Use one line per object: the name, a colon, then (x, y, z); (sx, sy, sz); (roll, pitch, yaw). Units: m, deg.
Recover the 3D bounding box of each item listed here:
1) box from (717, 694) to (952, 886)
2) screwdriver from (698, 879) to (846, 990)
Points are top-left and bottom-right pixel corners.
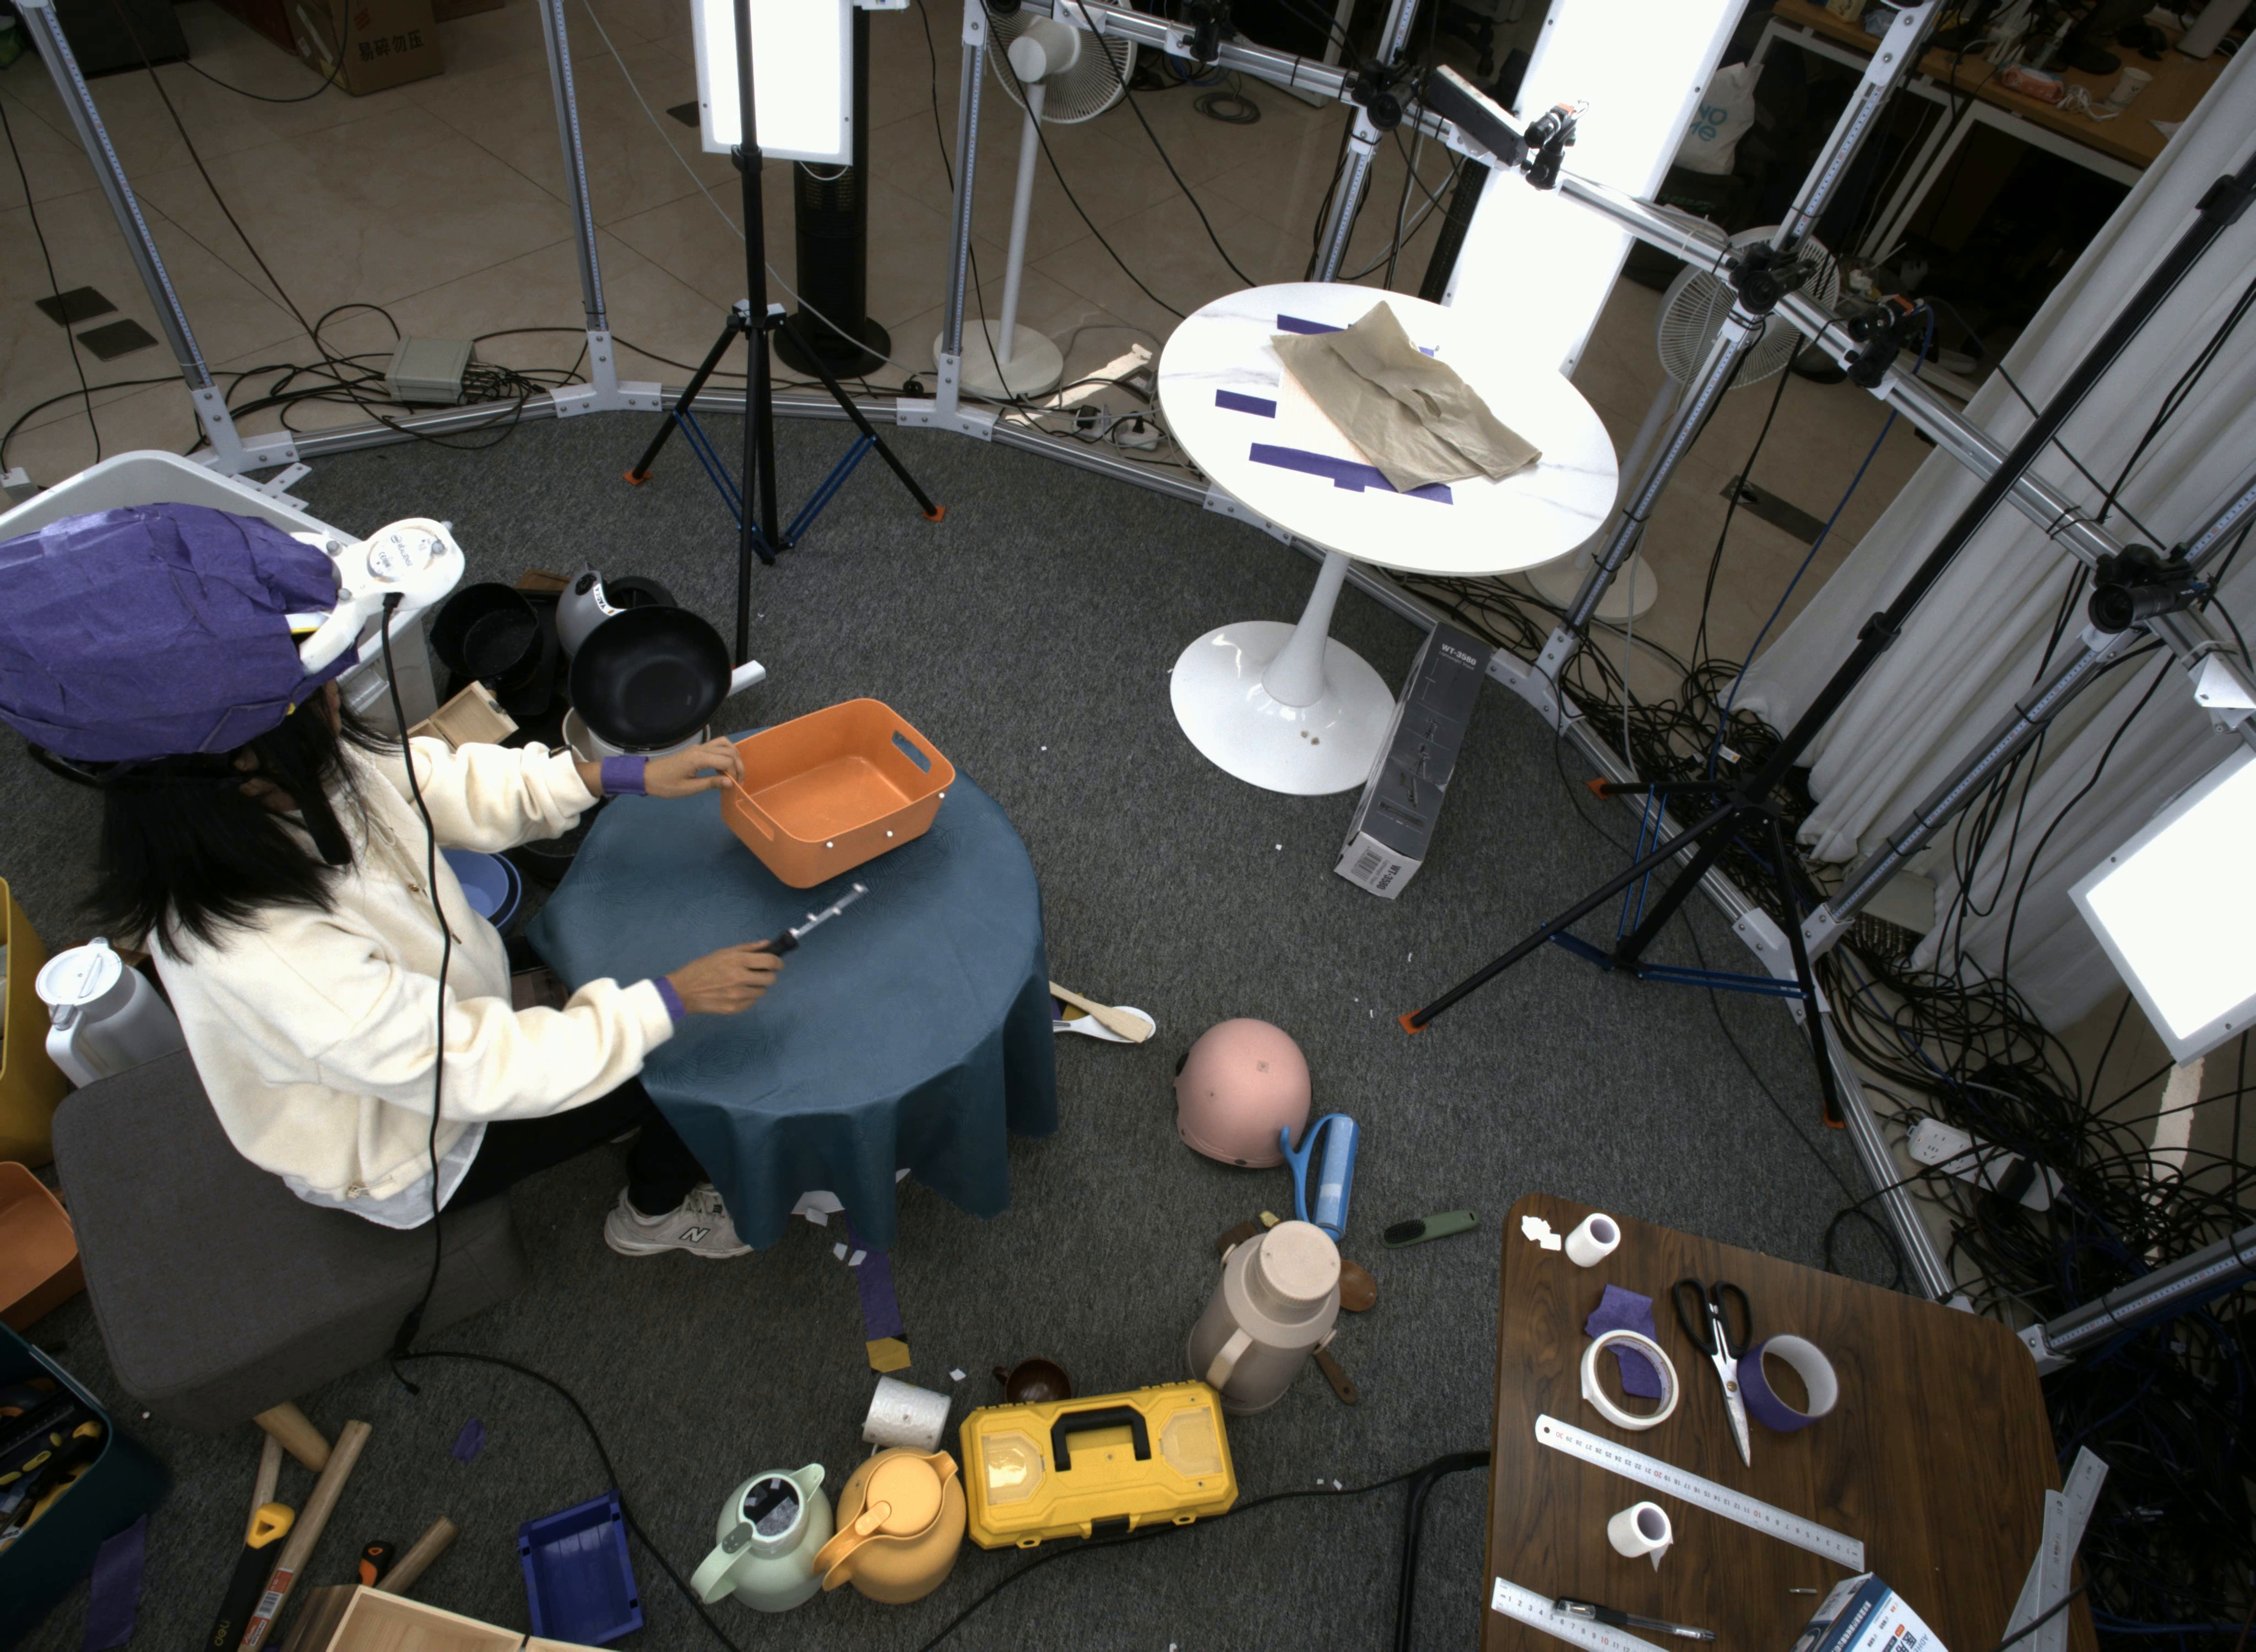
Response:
box: (-0.383, -0.047, 1.667); (0.195, 0.104, 0.275); (42, 41, 17)
screwdriver: (-0.404, 0.116, 1.475); (0.198, 0.032, 0.031); (-39, 68, -17)
